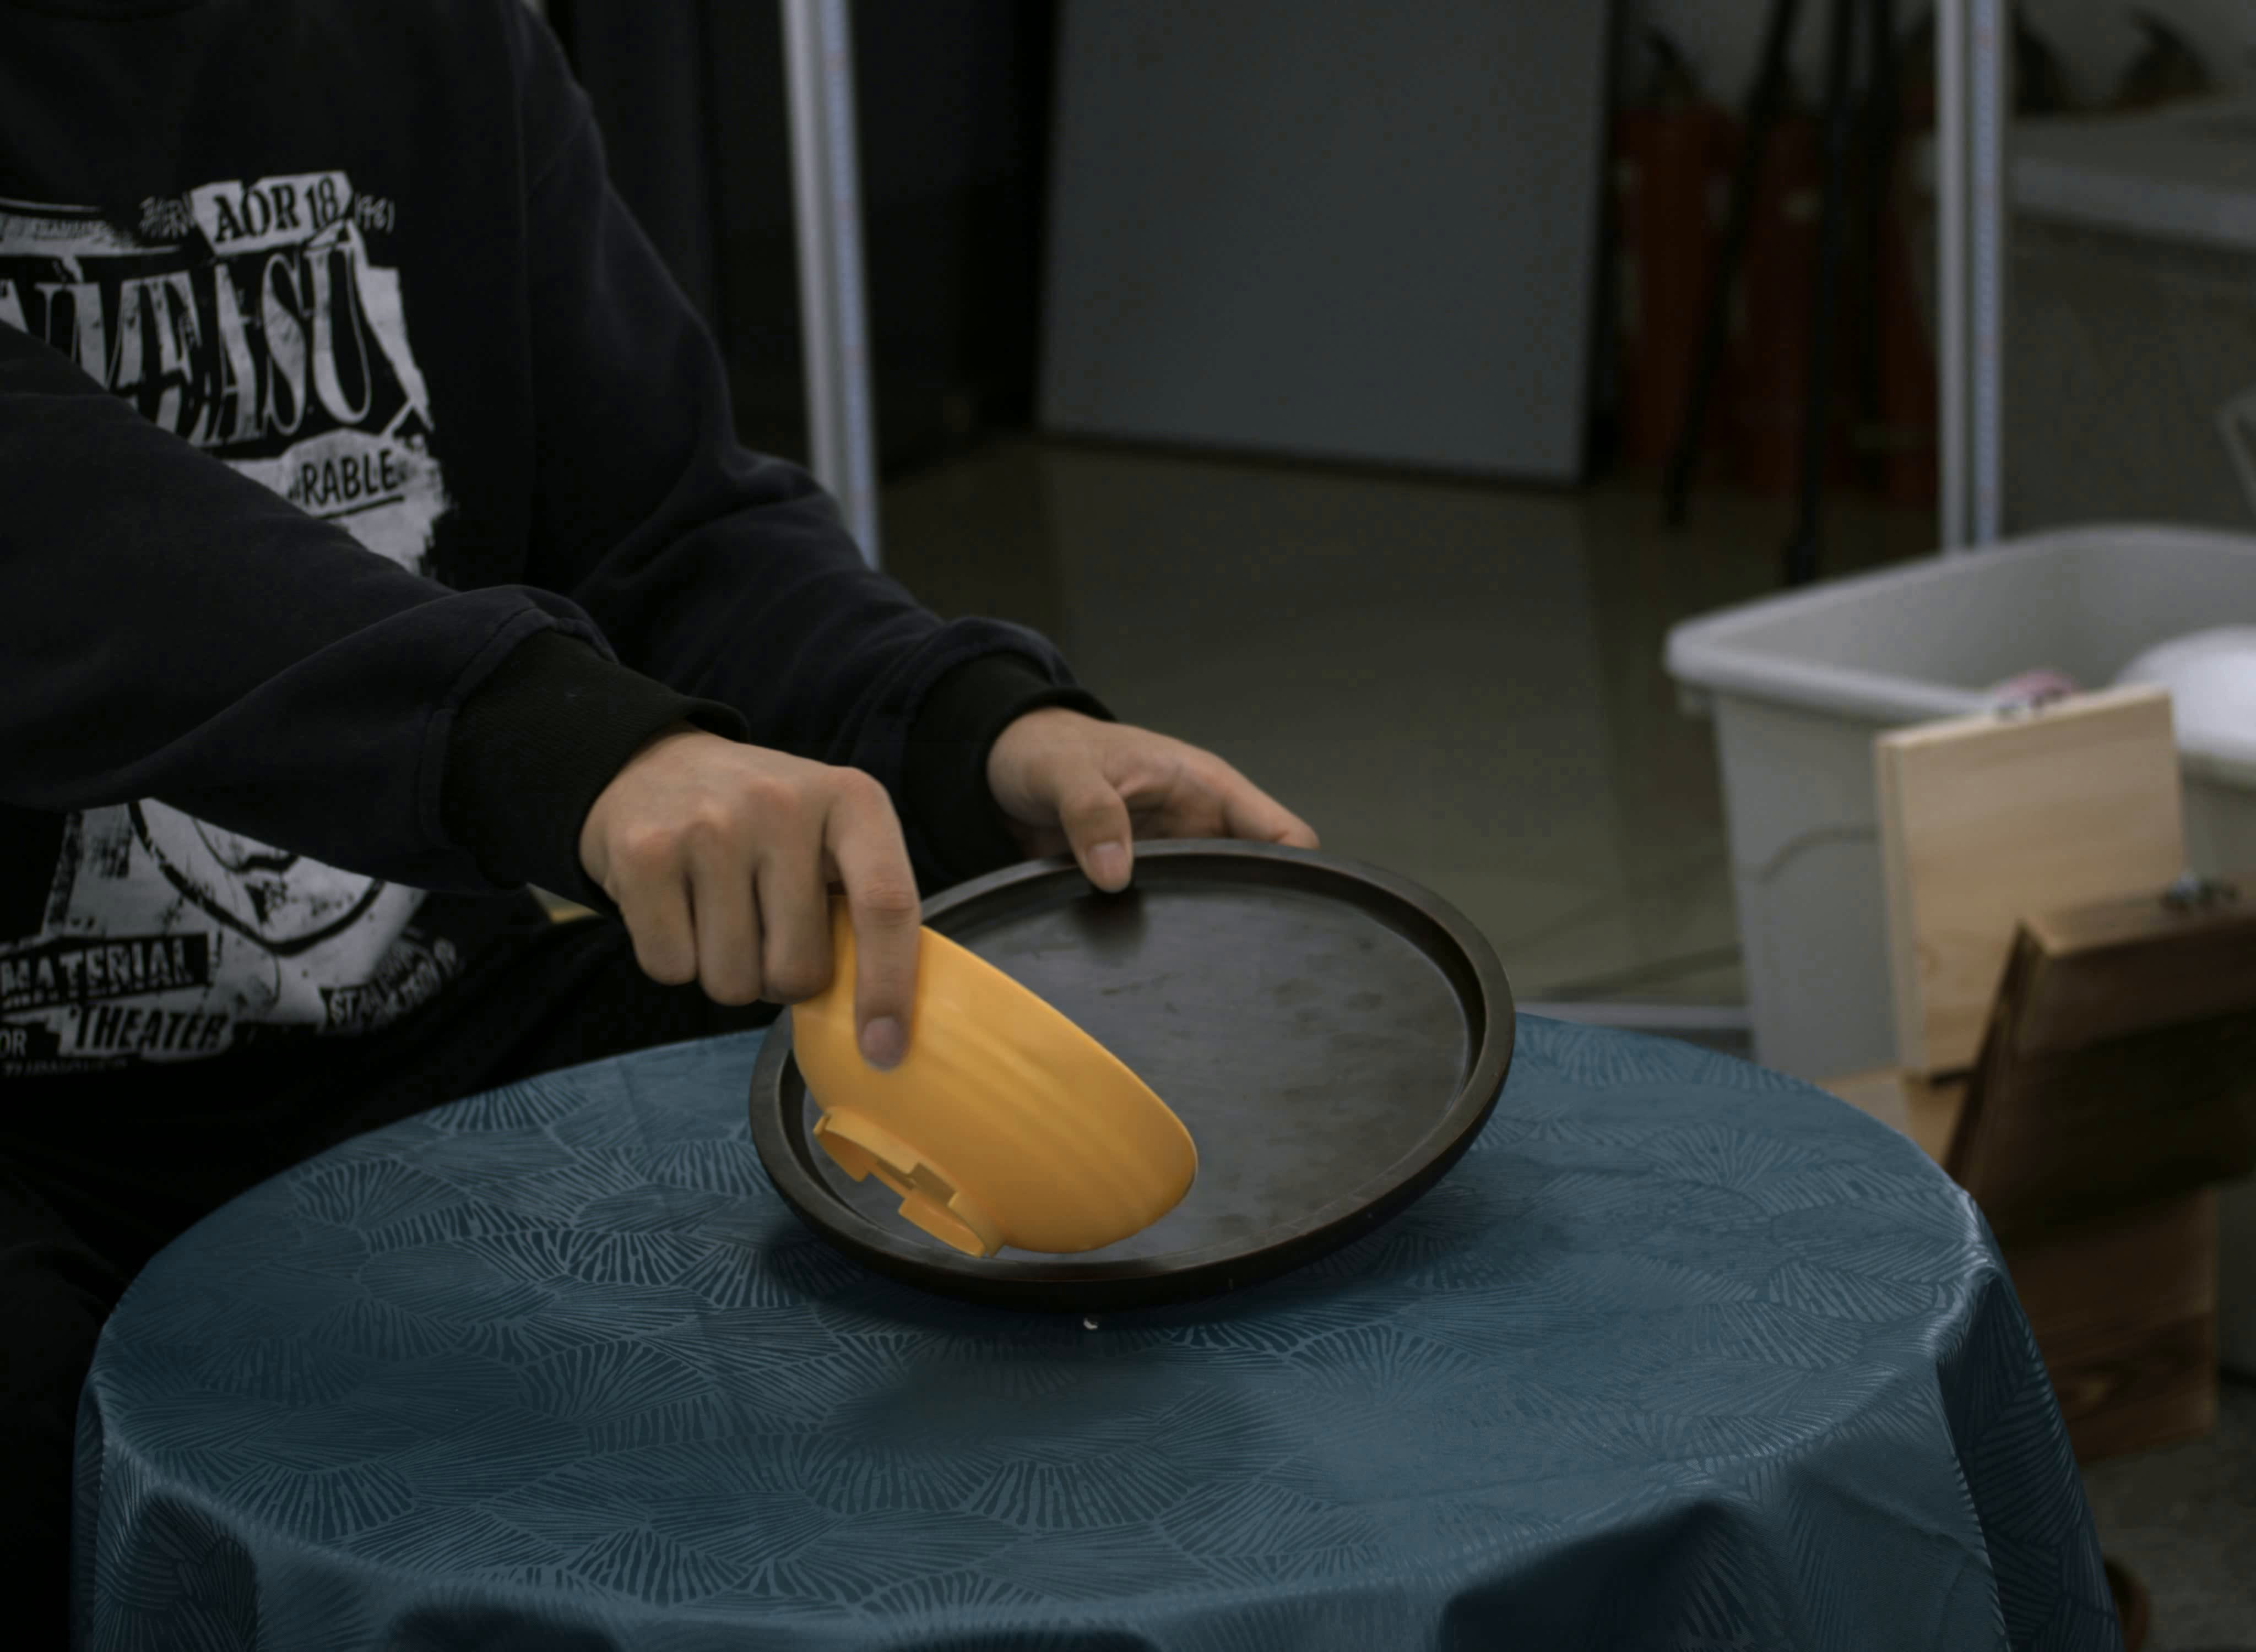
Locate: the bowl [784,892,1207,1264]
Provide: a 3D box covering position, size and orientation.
[{"bbox_3d":[-0.051,0.087,1.597,0.147,0.144,0.060,14,64,51],"label":"bowl"}]

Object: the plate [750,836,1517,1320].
[{"bbox_3d":[0.003,0.079,1.747,0.252,0.029,0.256,-9,31,5],"label":"plate"}]
